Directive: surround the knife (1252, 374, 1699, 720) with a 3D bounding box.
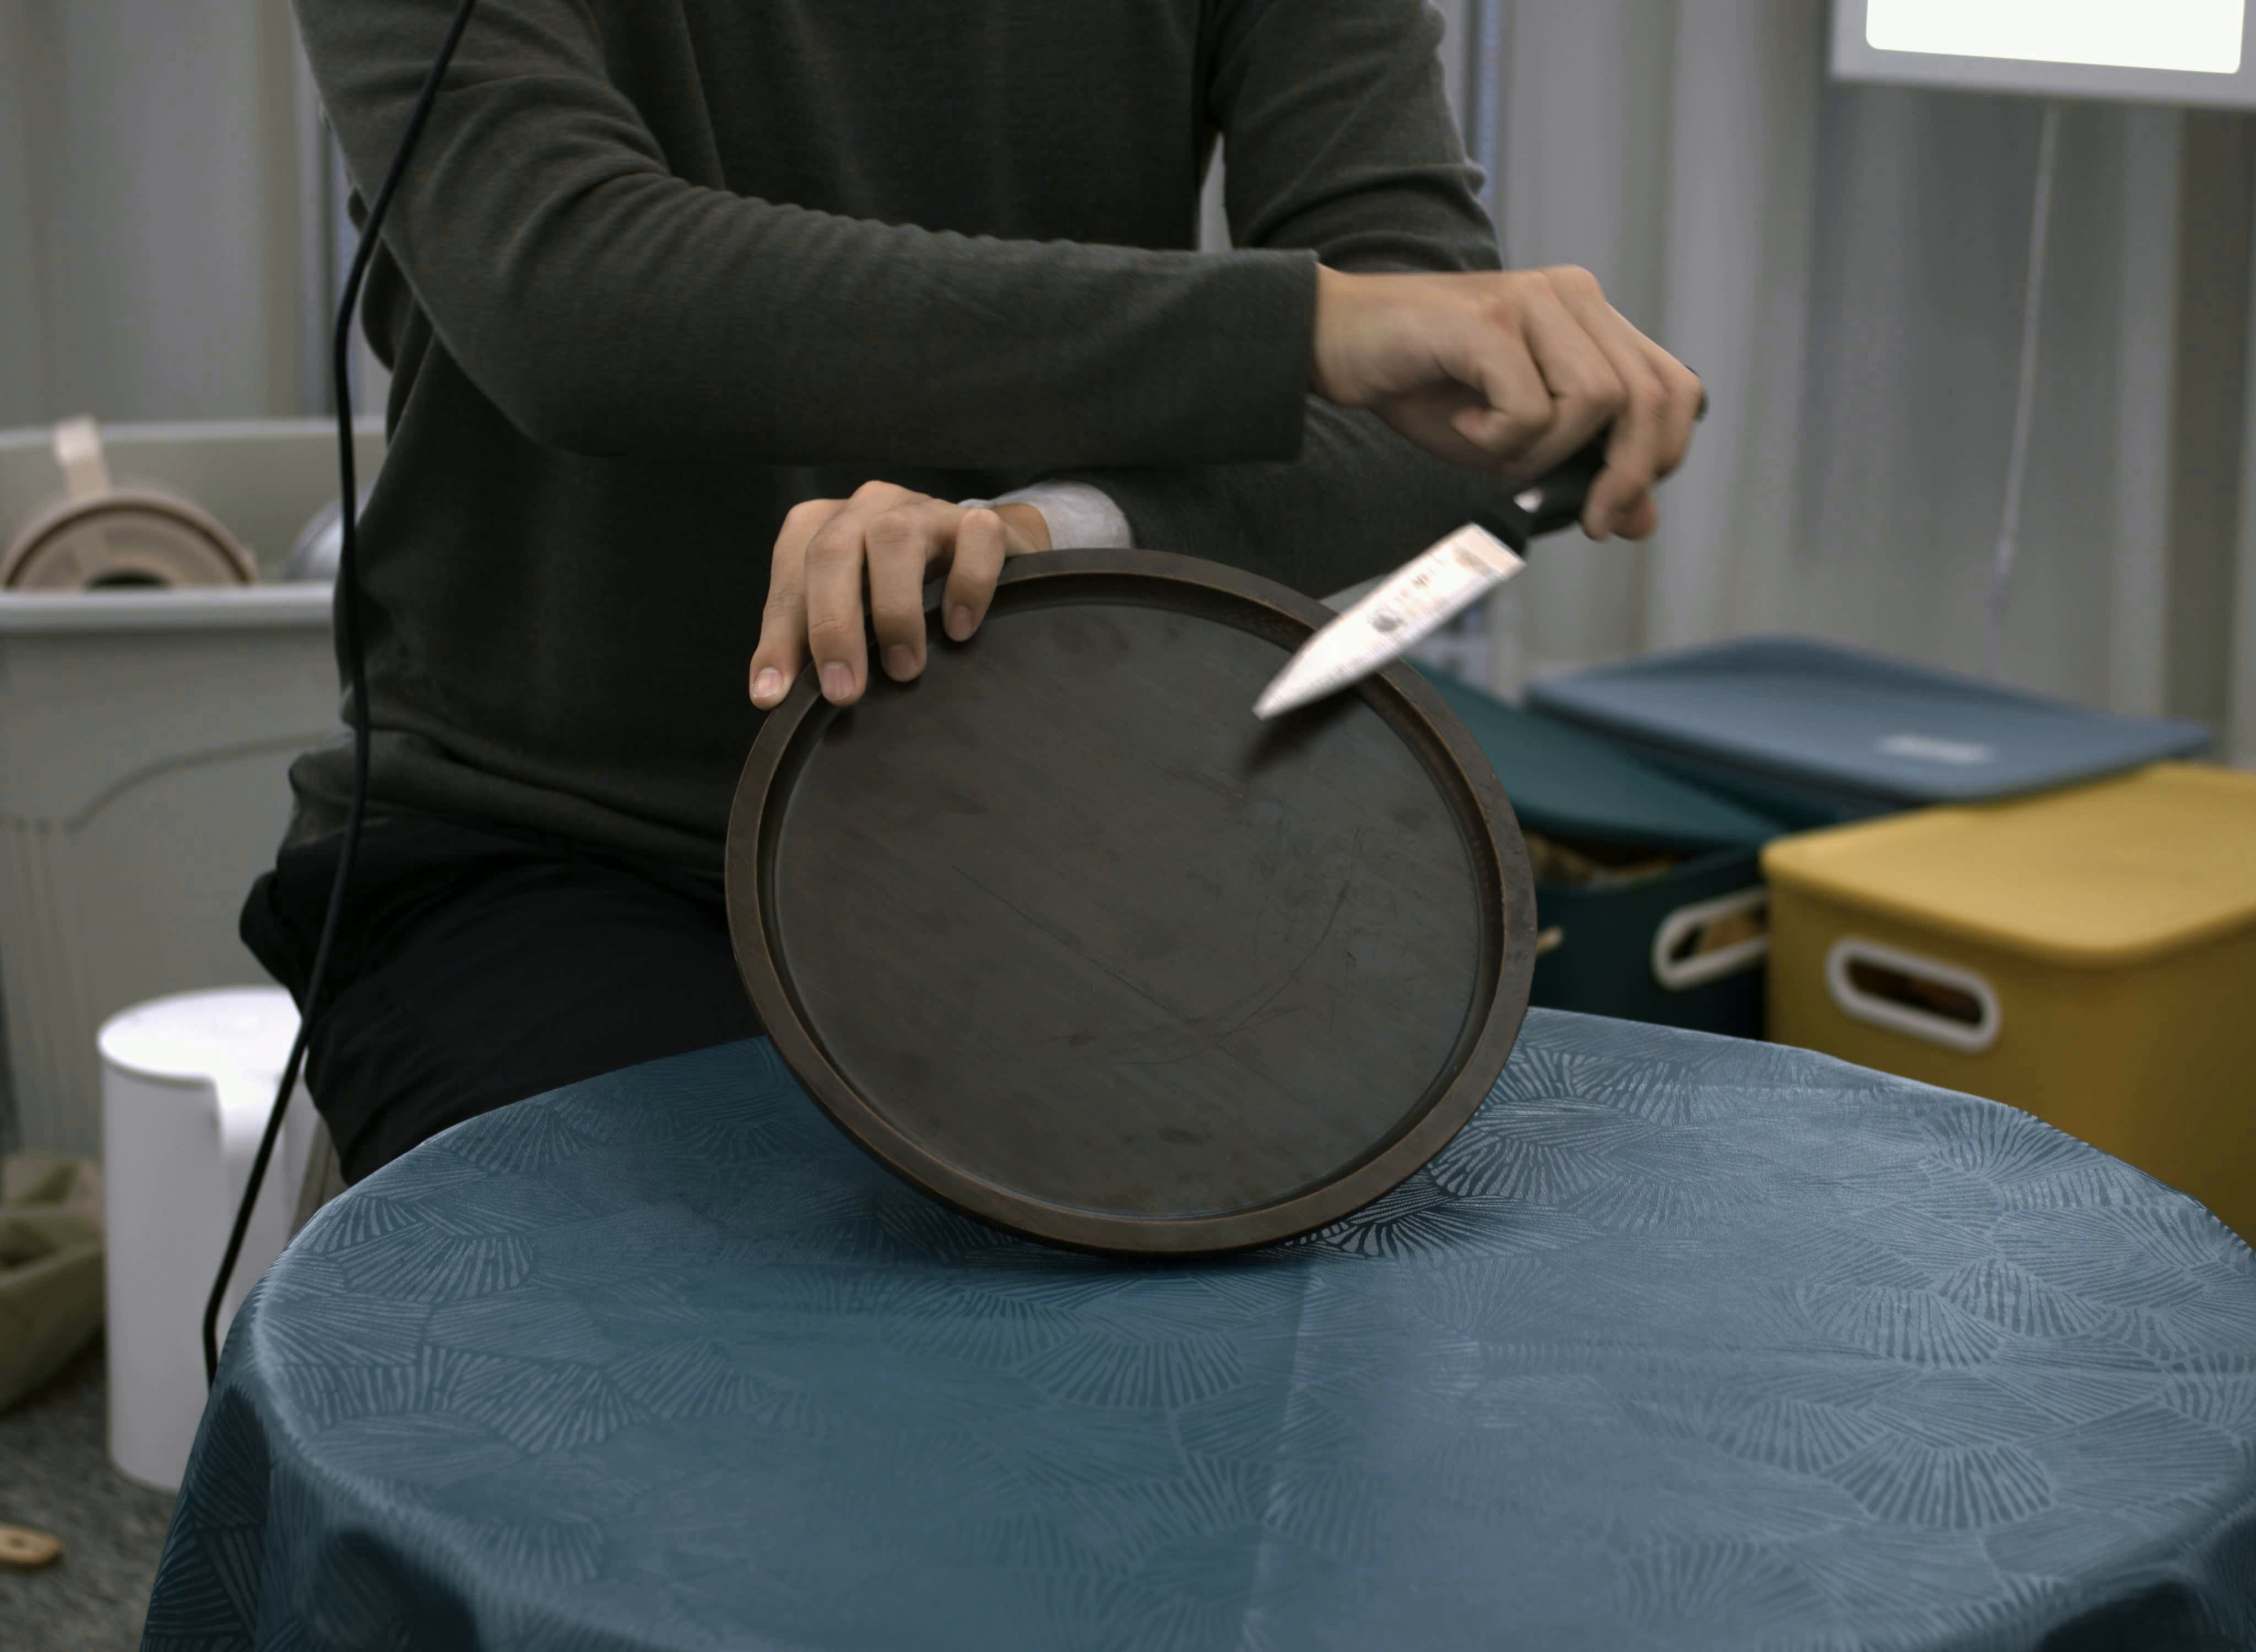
[{"bbox_3d":[0.112,-0.092,1.713,0.024,0.016,0.238,45,51,10],"label":"knife"}]

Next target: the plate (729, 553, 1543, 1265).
[{"bbox_3d":[0.002,0.024,1.623,0.255,0.029,0.253,6,58,-8],"label":"plate"}]
